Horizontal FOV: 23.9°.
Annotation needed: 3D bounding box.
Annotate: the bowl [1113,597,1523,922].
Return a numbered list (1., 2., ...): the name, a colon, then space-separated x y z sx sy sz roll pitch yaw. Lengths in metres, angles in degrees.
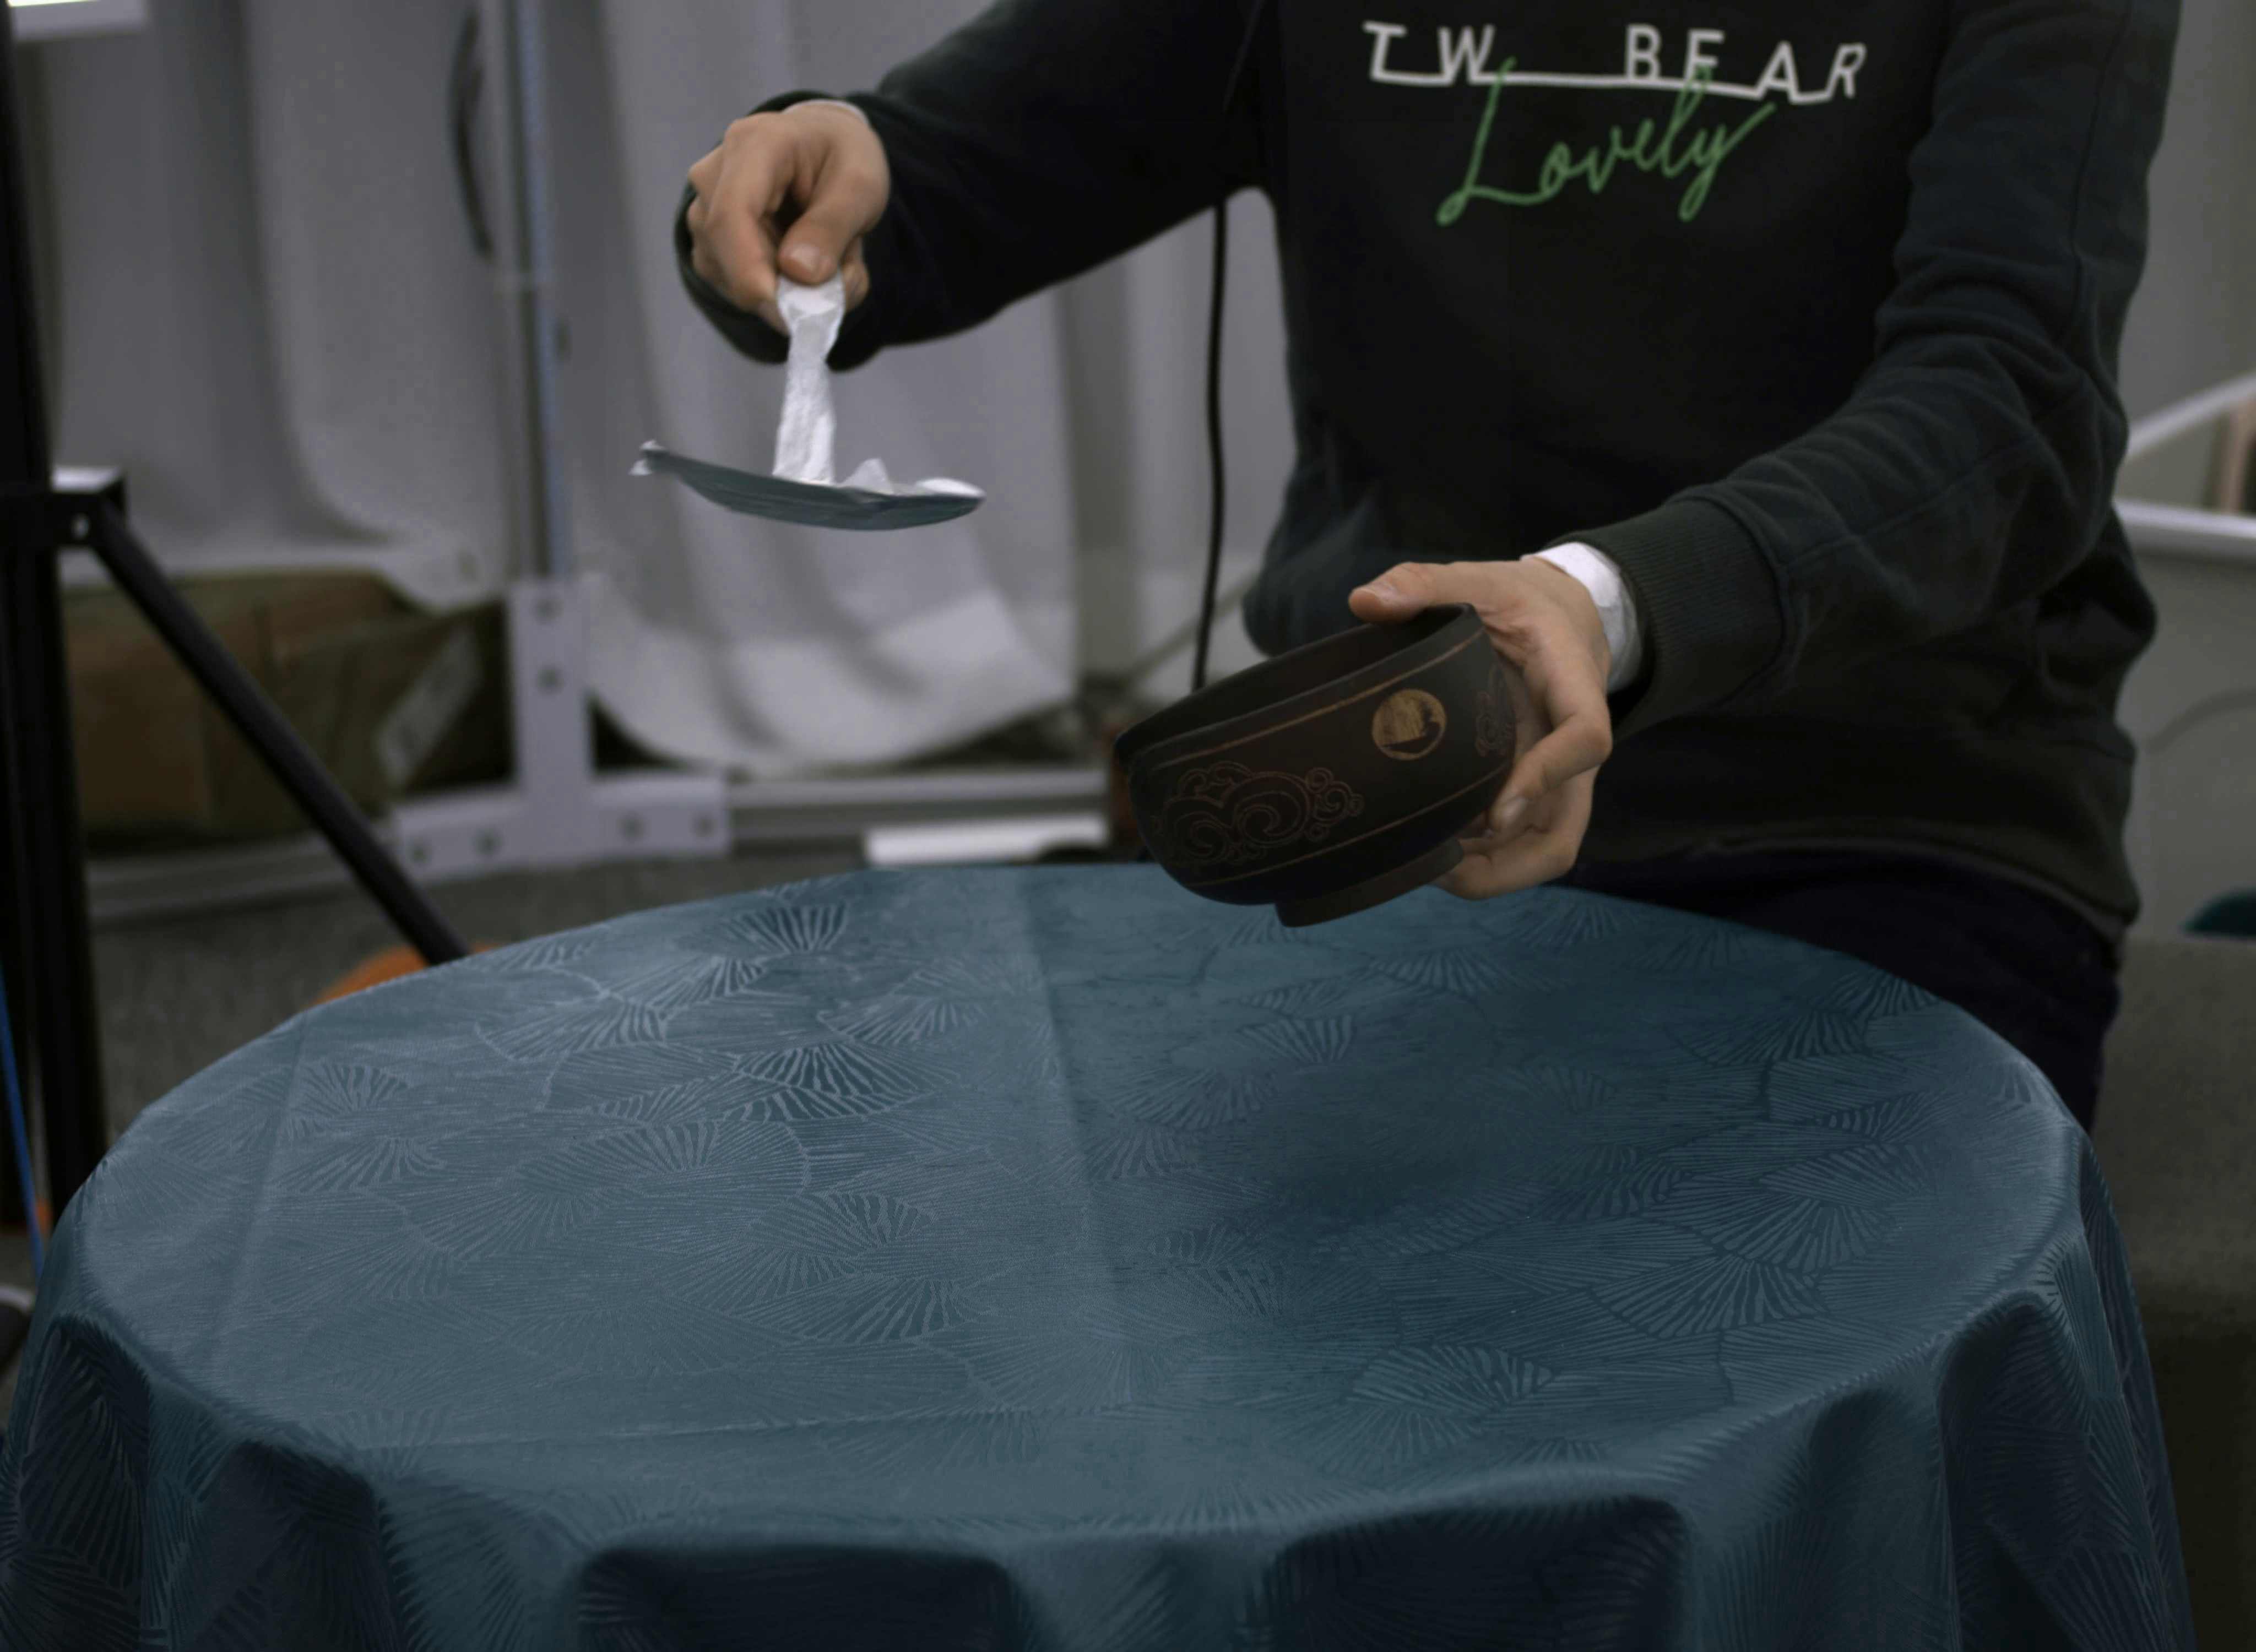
1. bowl: 0.060 -0.014 1.541 0.117 0.070 0.118 -20 7 1

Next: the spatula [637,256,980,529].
1. spatula: -0.095 -0.145 1.655 0.098 0.045 0.367 6 21 -3
